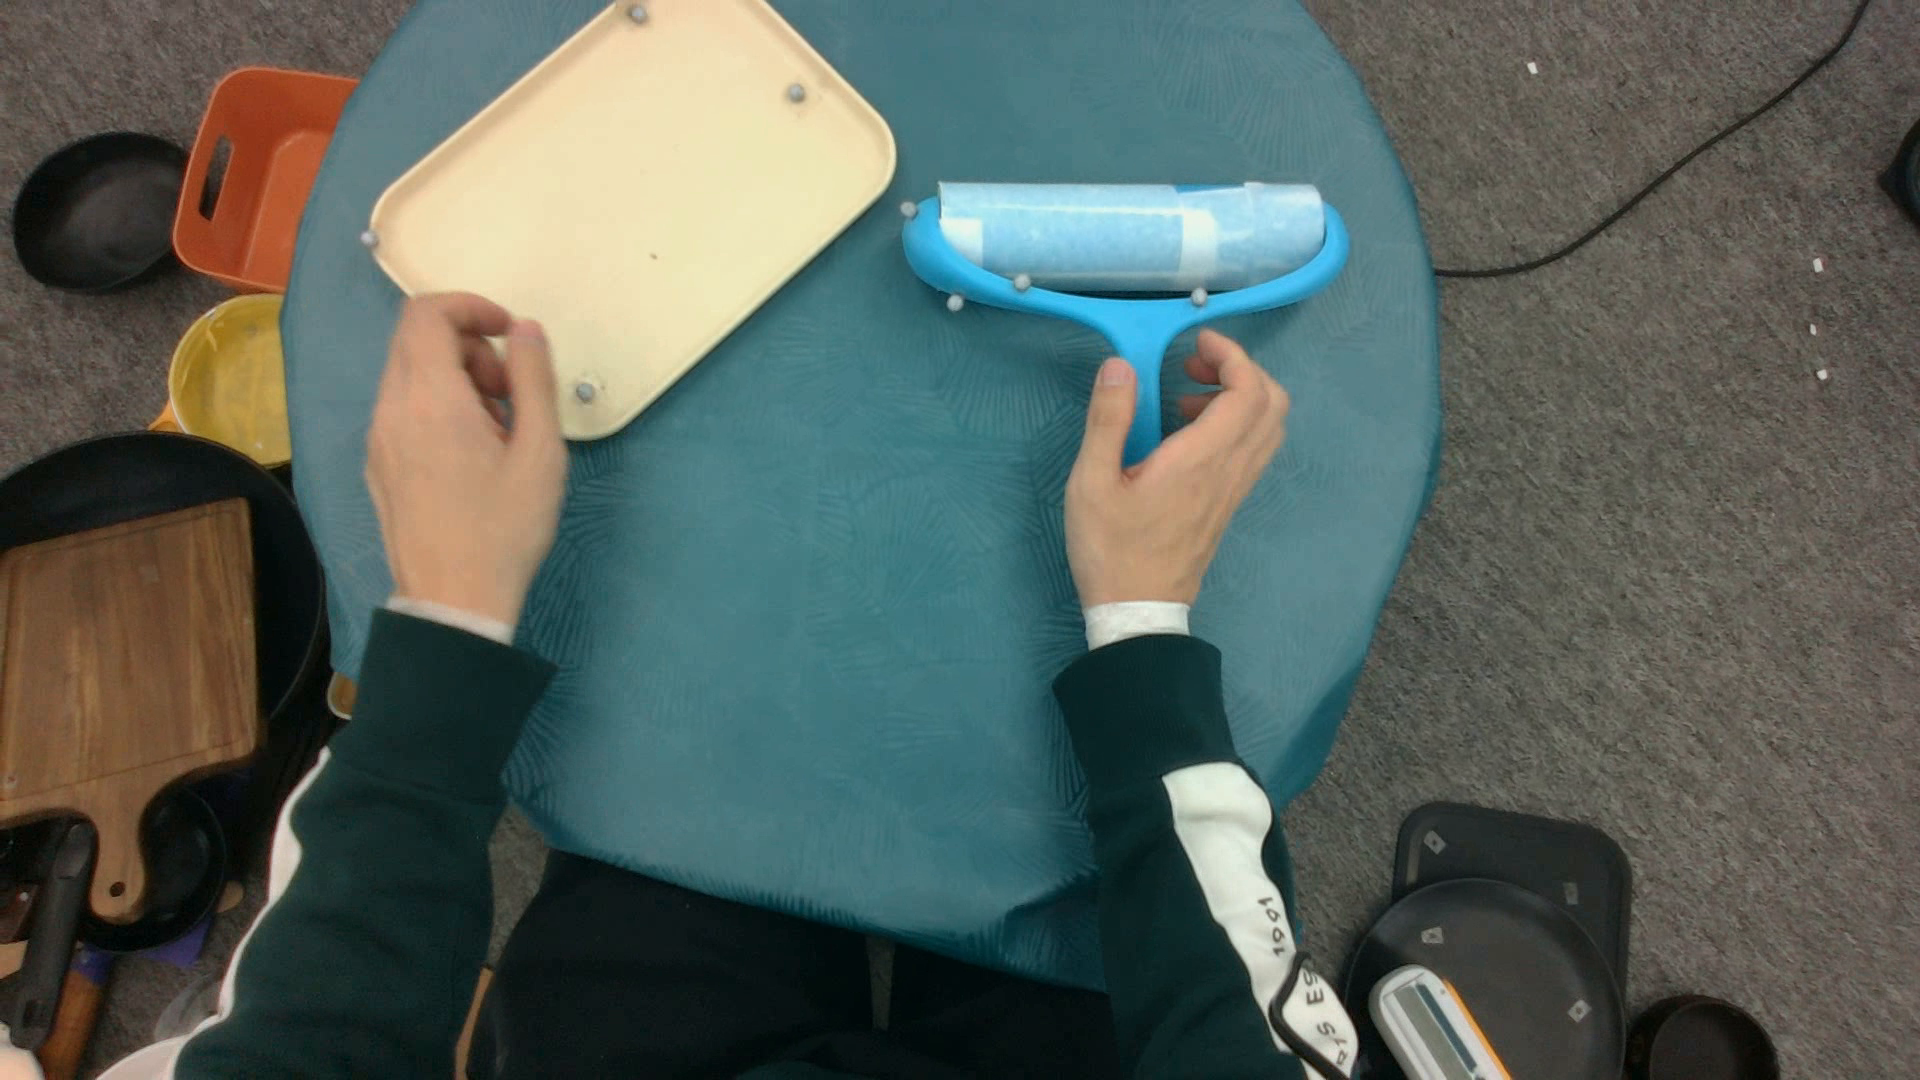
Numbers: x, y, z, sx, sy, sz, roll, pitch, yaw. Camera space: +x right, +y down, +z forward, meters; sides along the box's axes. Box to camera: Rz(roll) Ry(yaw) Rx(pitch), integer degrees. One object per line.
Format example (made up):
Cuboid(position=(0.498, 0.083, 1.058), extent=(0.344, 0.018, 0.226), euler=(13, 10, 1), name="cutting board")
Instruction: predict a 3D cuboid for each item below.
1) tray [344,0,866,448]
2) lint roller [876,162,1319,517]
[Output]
Cuboid(position=(-0.179, -0.174, 0.710), extent=(0.171, 0.017, 0.240), euler=(43, 79, 3), name="tray")
Cuboid(position=(0.078, -0.106, 0.698), extent=(0.229, 0.068, 0.180), euler=(-5, 79, -7), name="lint roller")
